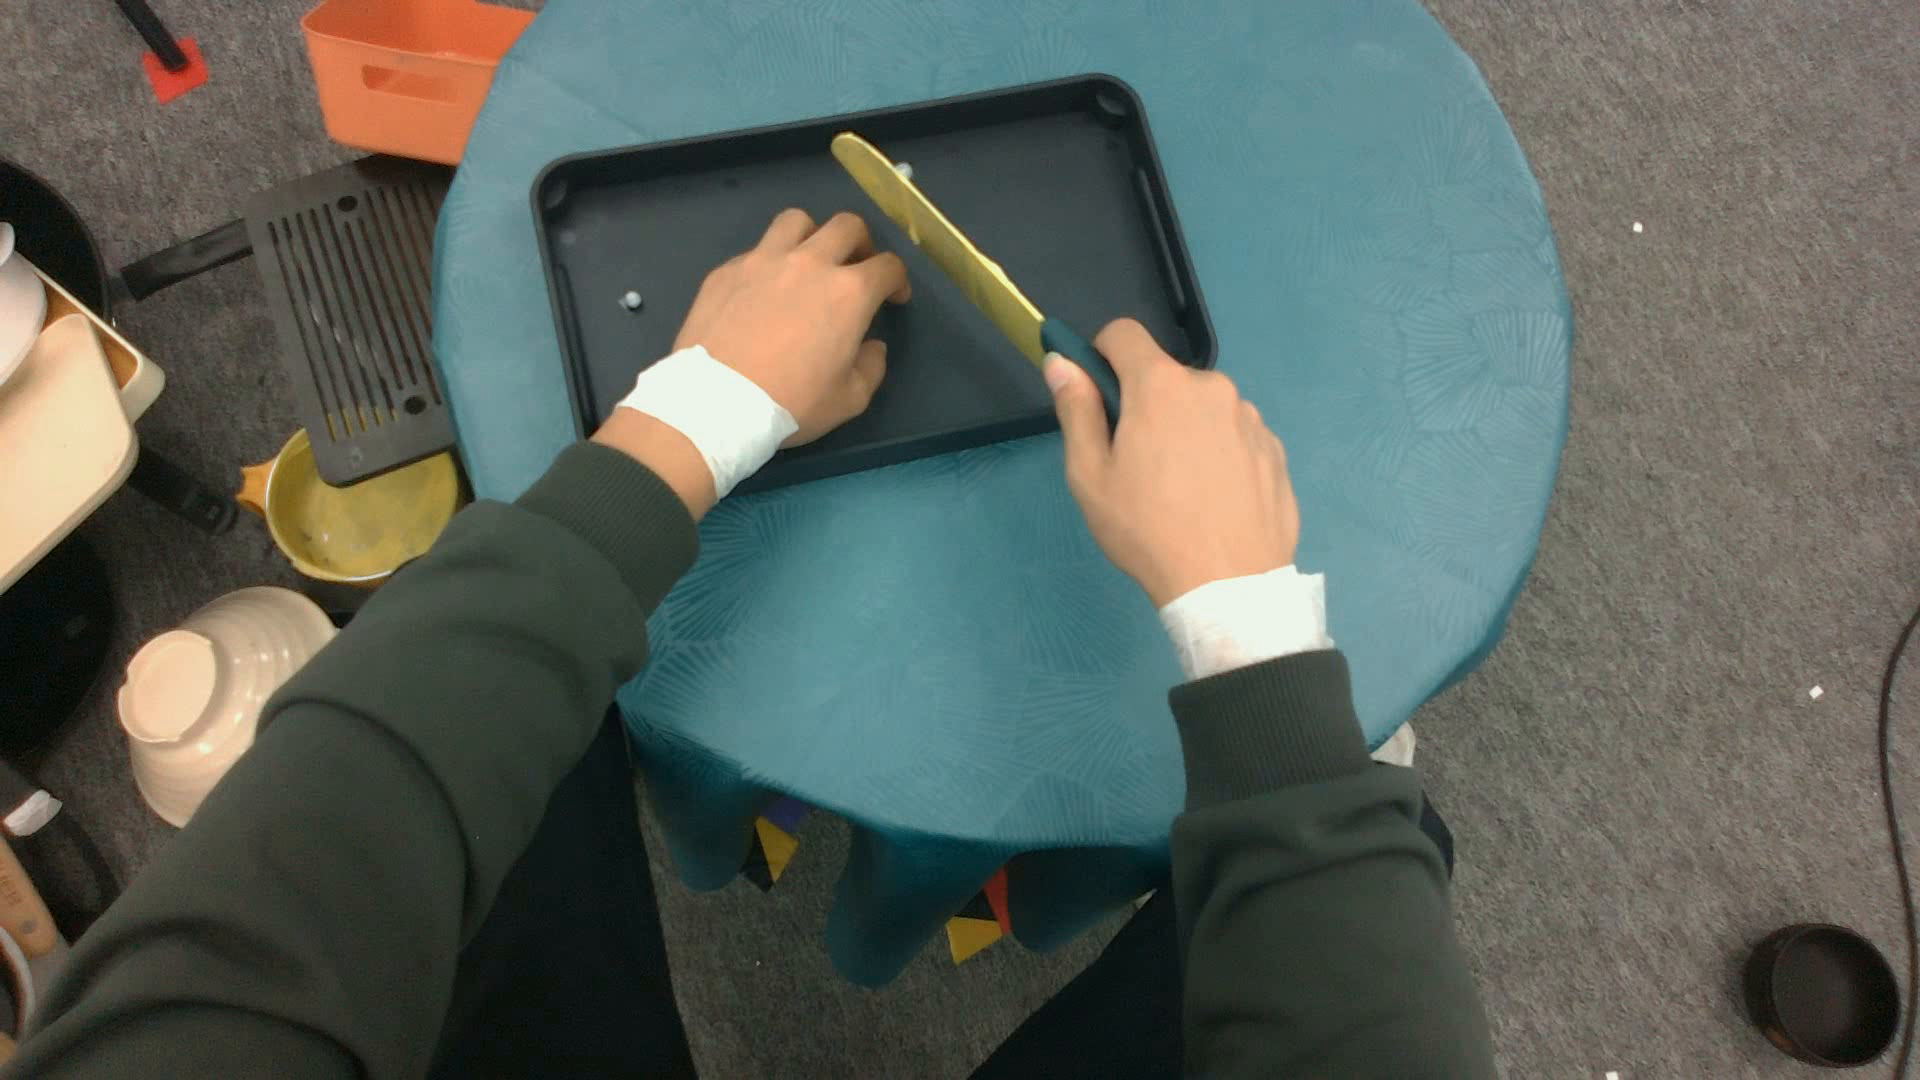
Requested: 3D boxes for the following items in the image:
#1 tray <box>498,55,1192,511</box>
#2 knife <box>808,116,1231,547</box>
[{"bbox_3d":[-0.056,-0.134,0.697,0.318,0.037,0.184,-14,76,-11],"label":"tray"},{"bbox_3d":[0.019,-0.102,0.641,0.027,0.081,0.290,-42,75,-3],"label":"knife"}]
